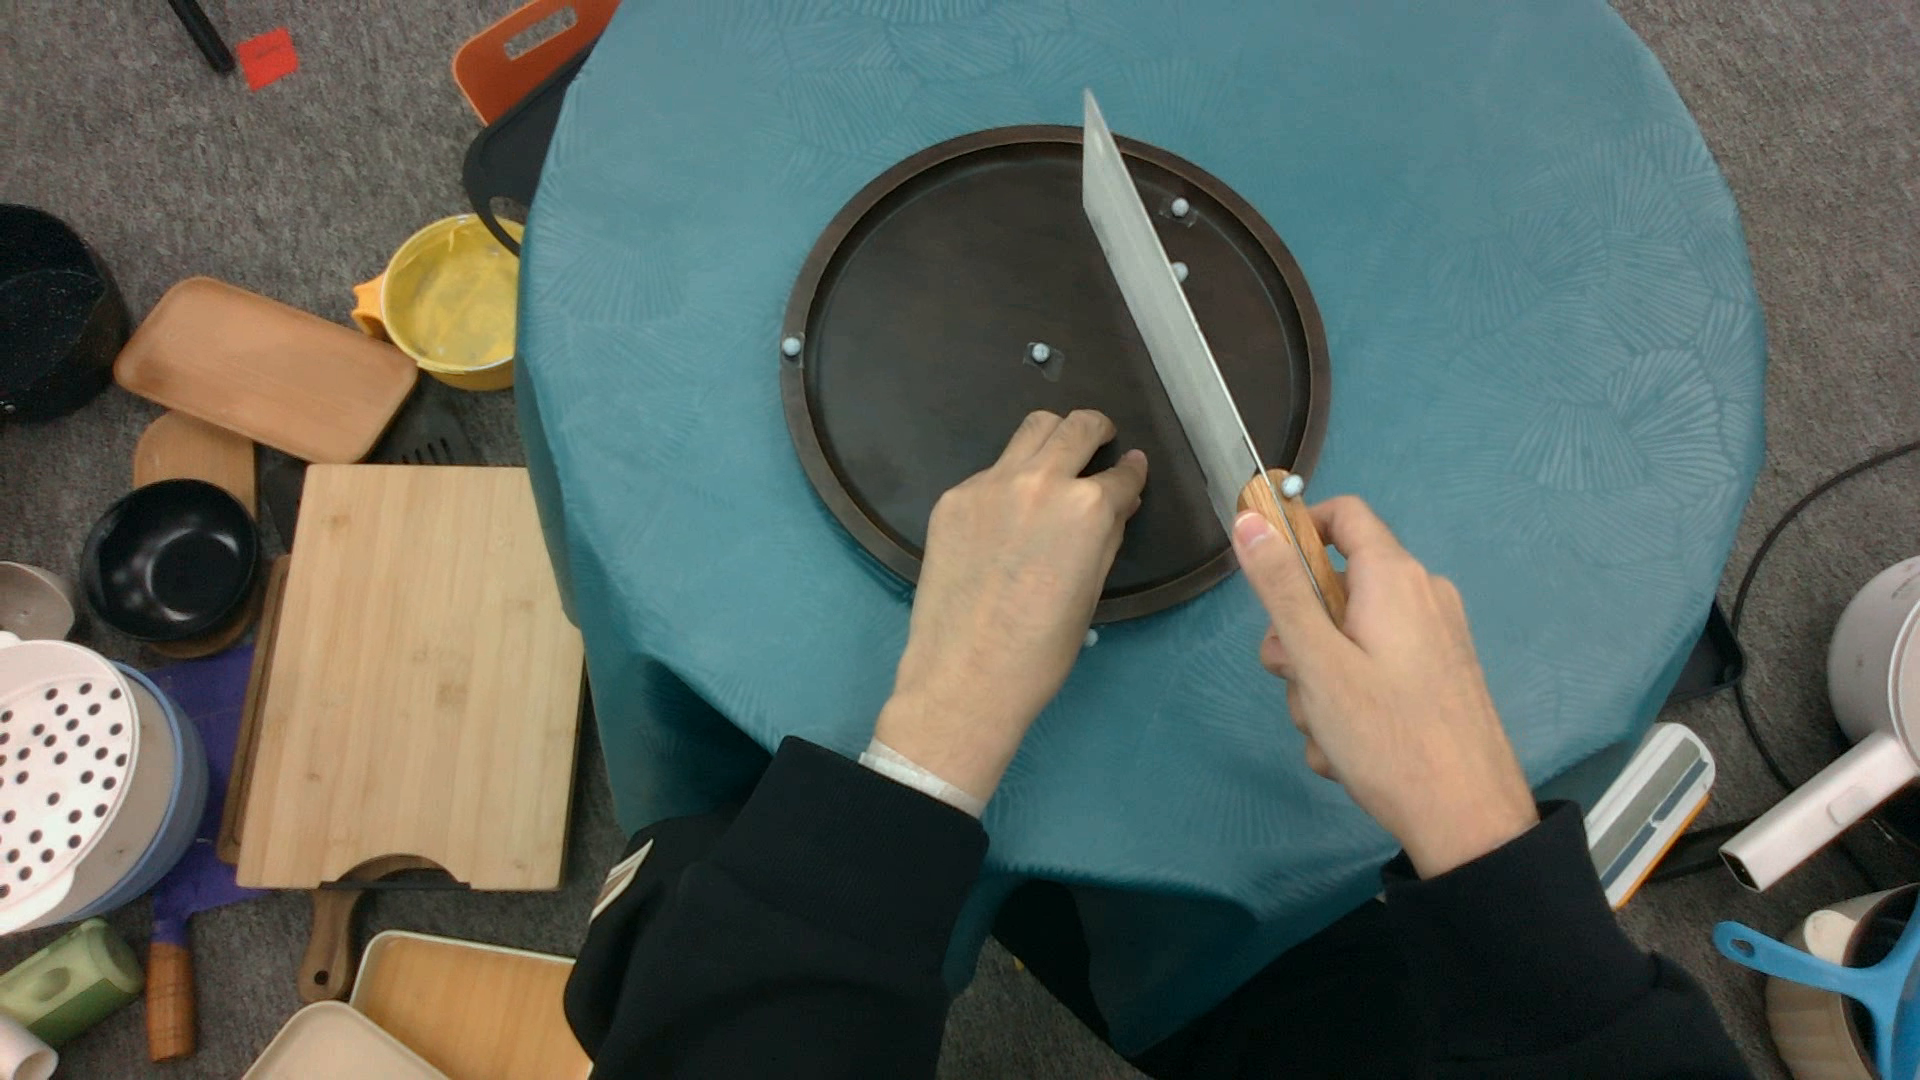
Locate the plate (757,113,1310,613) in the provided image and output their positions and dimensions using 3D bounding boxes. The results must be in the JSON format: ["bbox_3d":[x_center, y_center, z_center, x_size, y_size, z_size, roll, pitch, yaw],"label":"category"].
[{"bbox_3d":[0.035,-0.087,0.634,0.255,0.029,0.255,1,70,-1],"label":"plate"}]

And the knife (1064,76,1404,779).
[{"bbox_3d":[0.099,-0.045,0.558,0.021,0.092,0.306,-20,73,-3],"label":"knife"}]
